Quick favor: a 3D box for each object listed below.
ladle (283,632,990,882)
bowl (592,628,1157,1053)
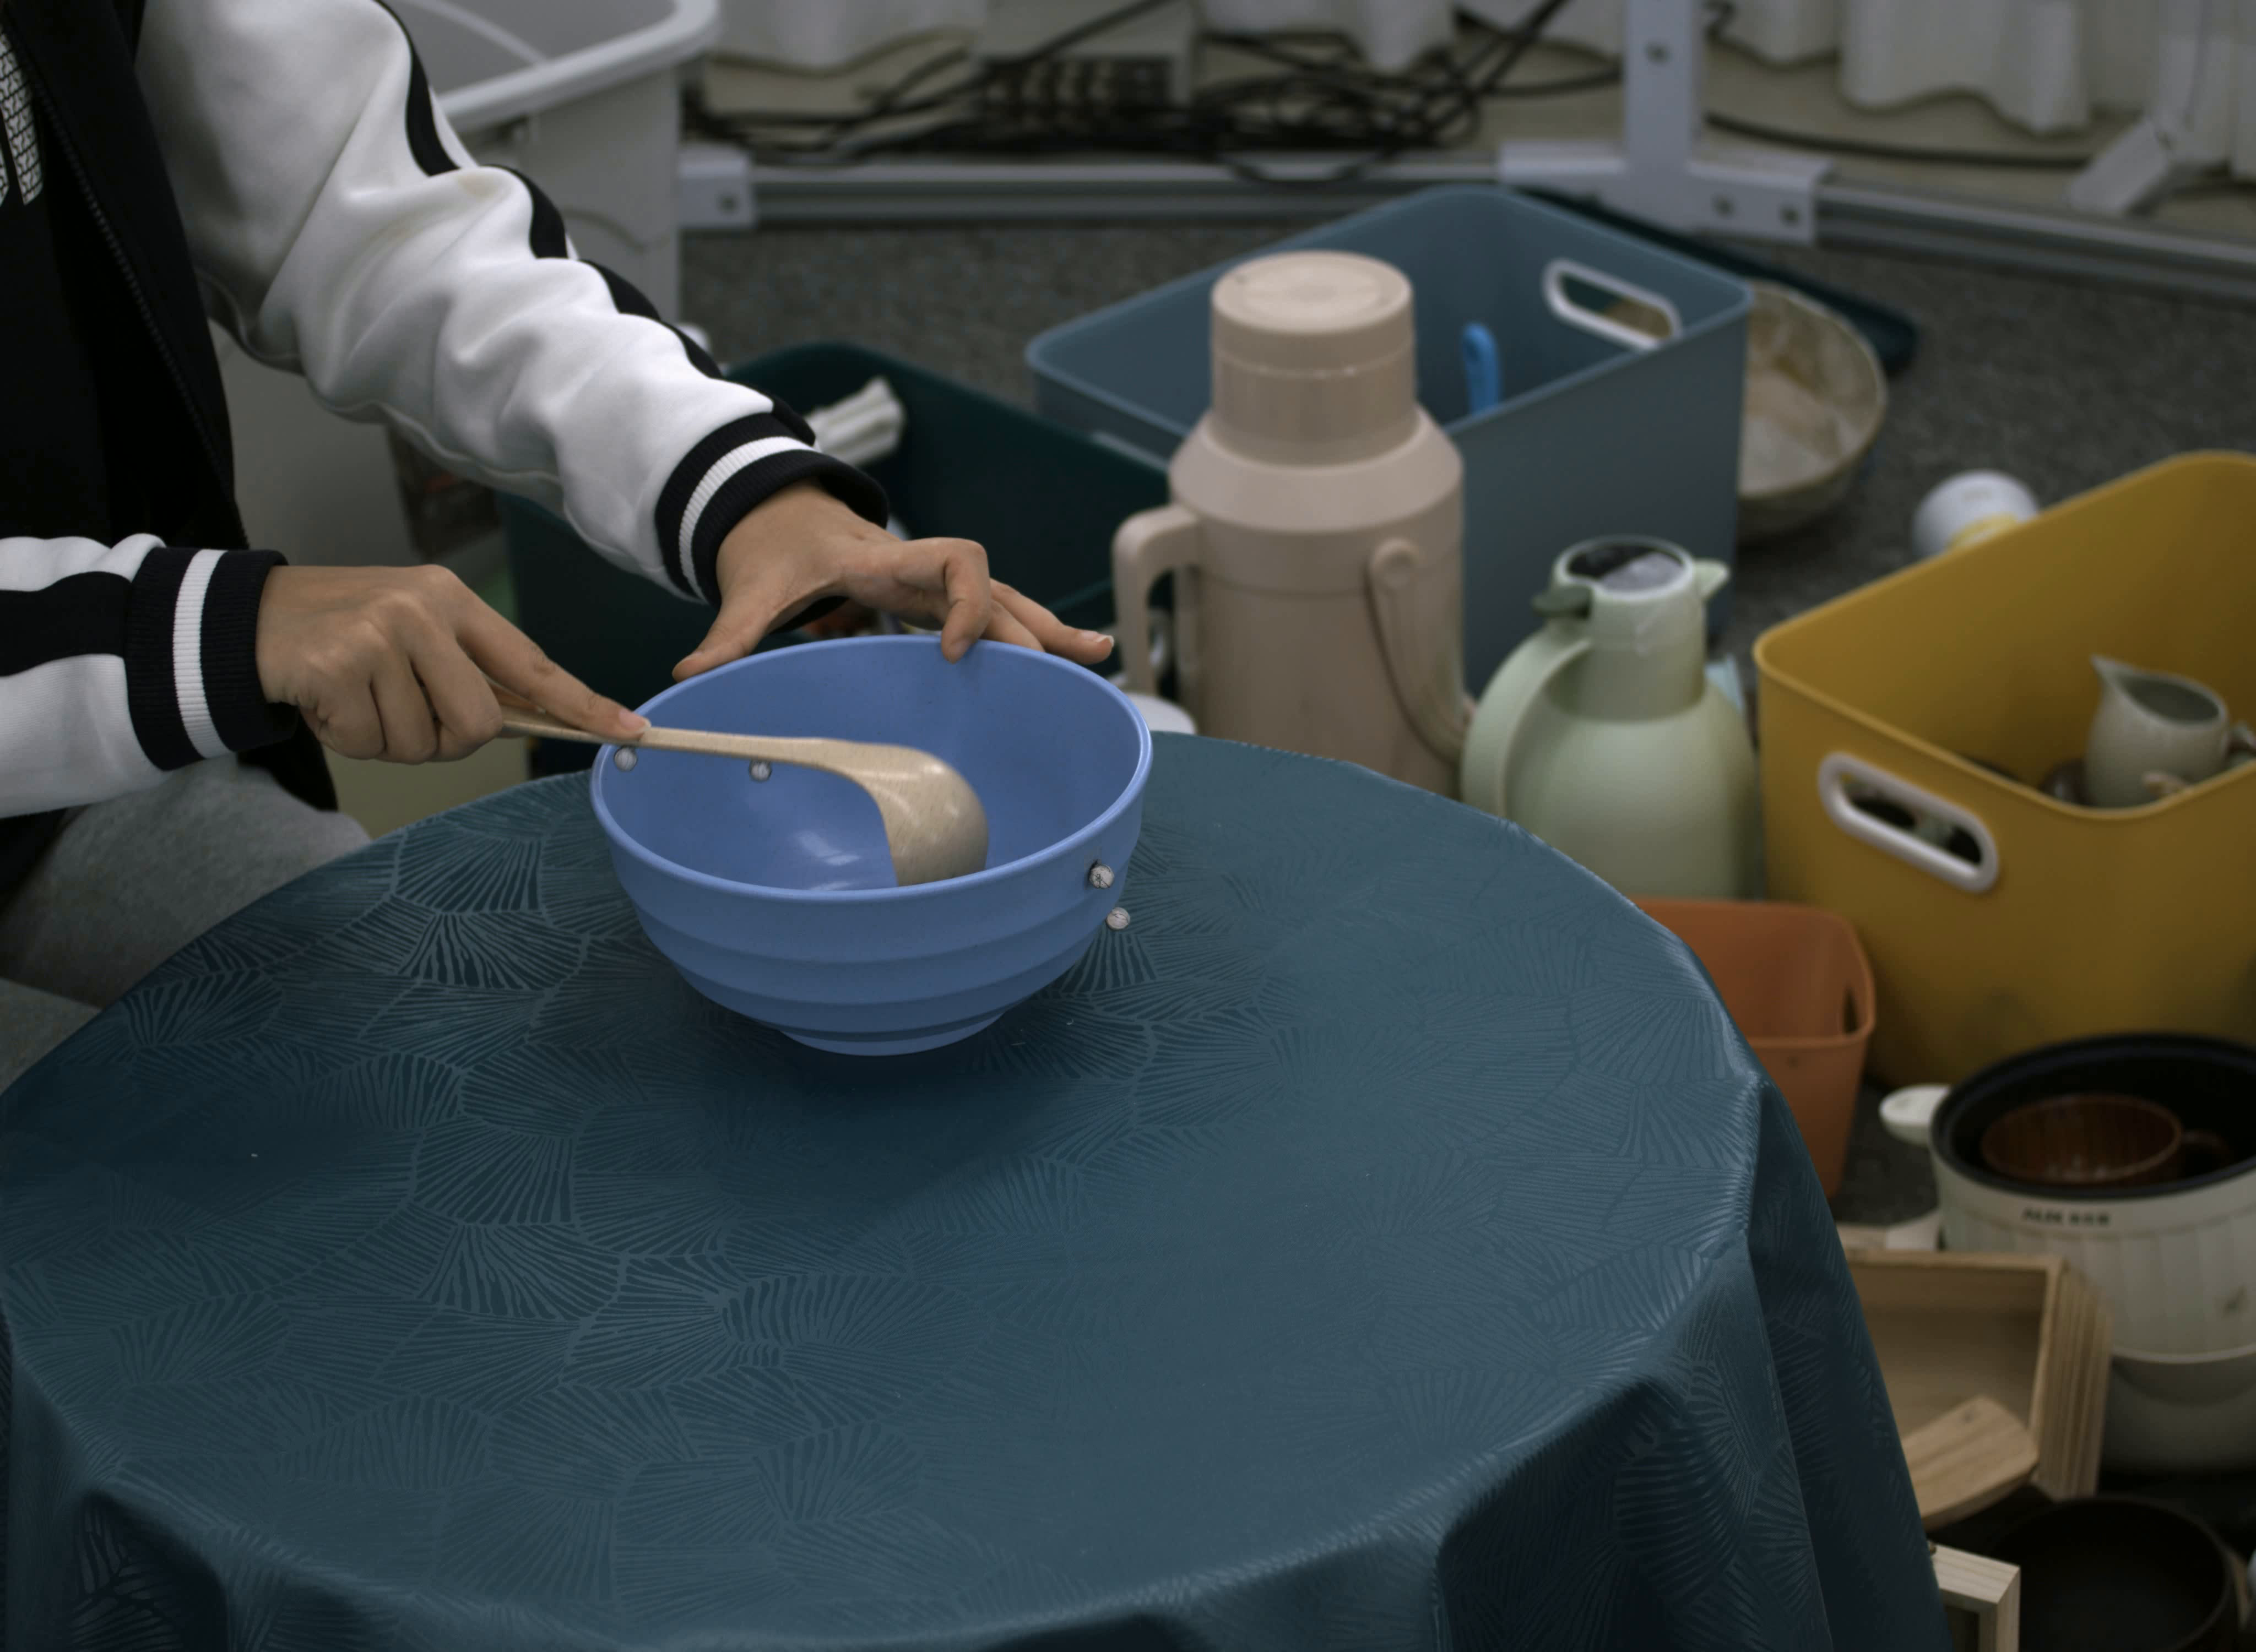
[{"bbox_3d":[-0.175,-0.008,1.954,0.253,0.072,0.073,12,27,-10],"label":"ladle"},{"bbox_3d":[-0.087,0.016,1.969,0.195,0.094,0.199,0,28,0],"label":"bowl"}]
